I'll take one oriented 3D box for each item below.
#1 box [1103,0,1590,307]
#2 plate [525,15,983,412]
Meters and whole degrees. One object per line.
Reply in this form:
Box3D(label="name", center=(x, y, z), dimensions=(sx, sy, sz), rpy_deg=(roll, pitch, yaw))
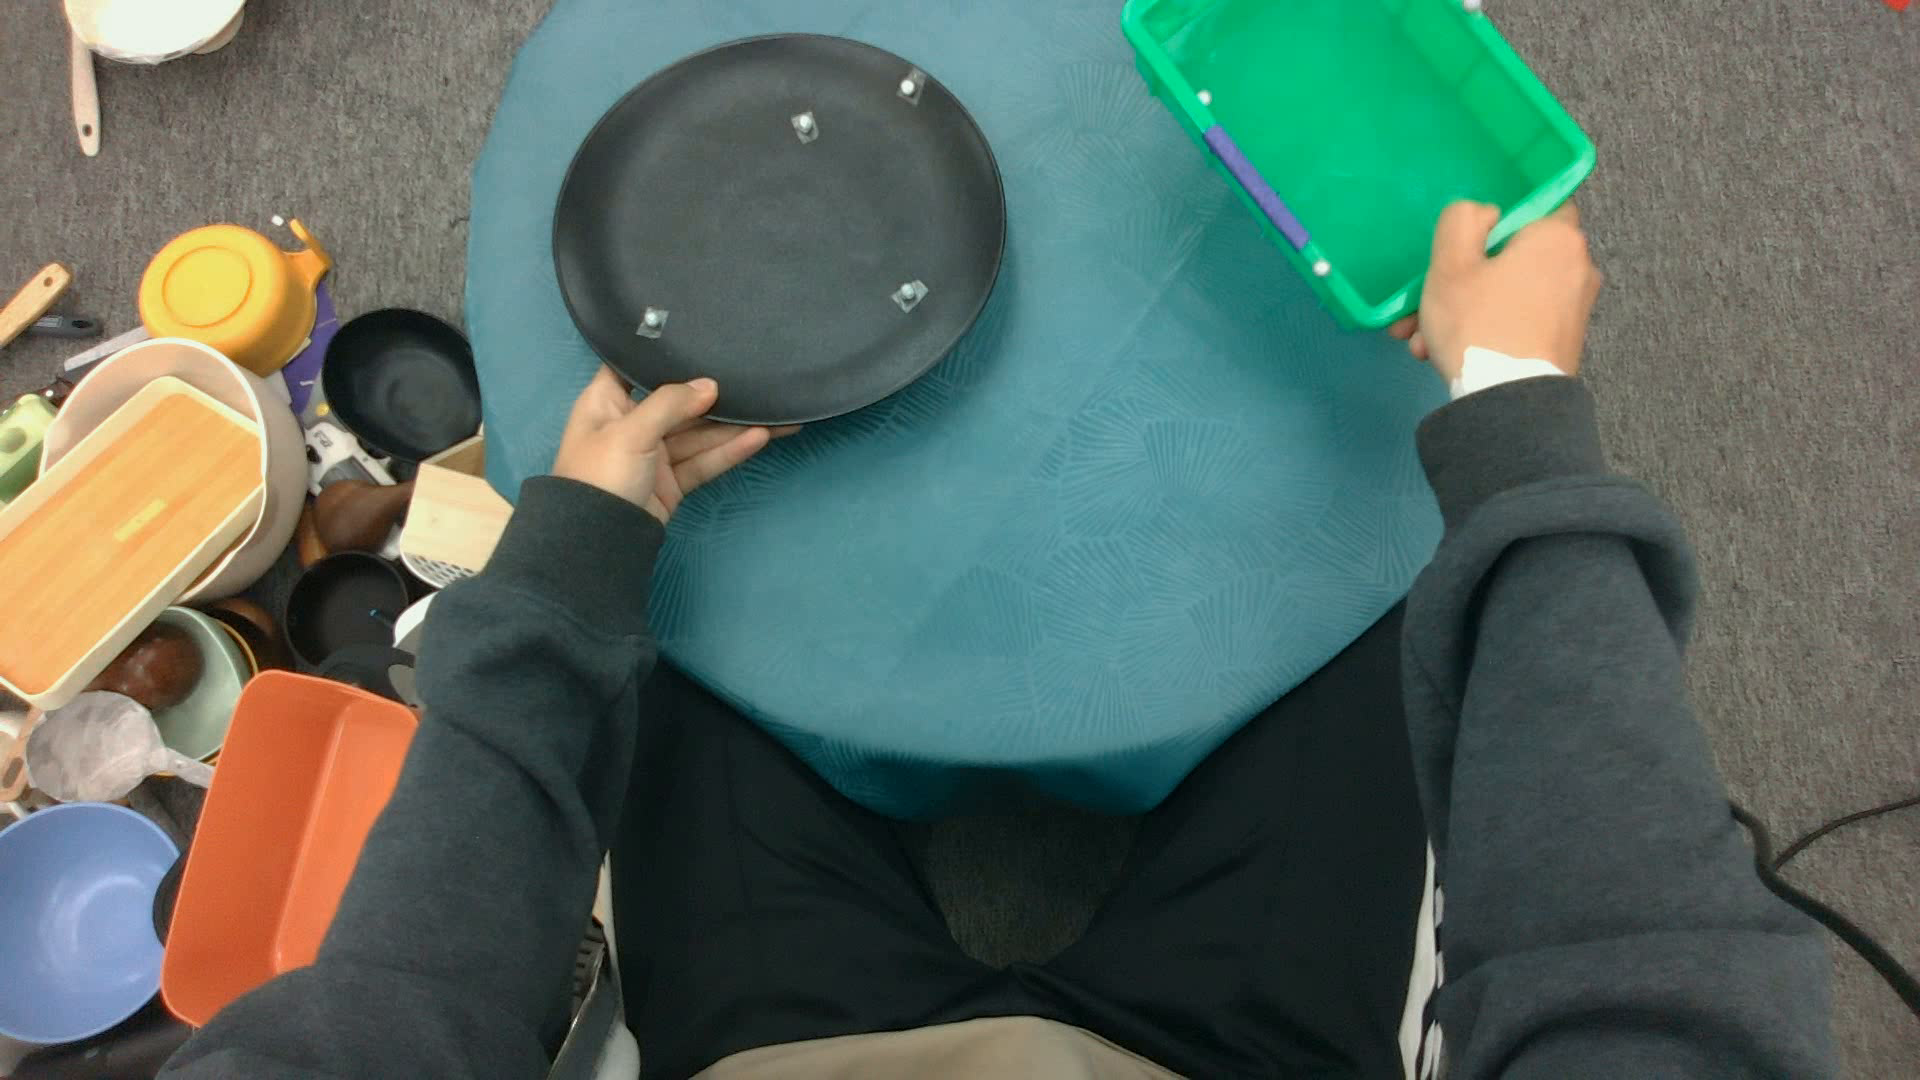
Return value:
Box3D(label="box", center=(0.181, -0.224, 0.669), dimensions=(0.138, 0.065, 0.210), rpy_deg=(-40, 88, 5))
Box3D(label="plate", center=(-0.109, -0.176, 0.740), dimensions=(0.244, 0.023, 0.245), rpy_deg=(0, 71, 1))
